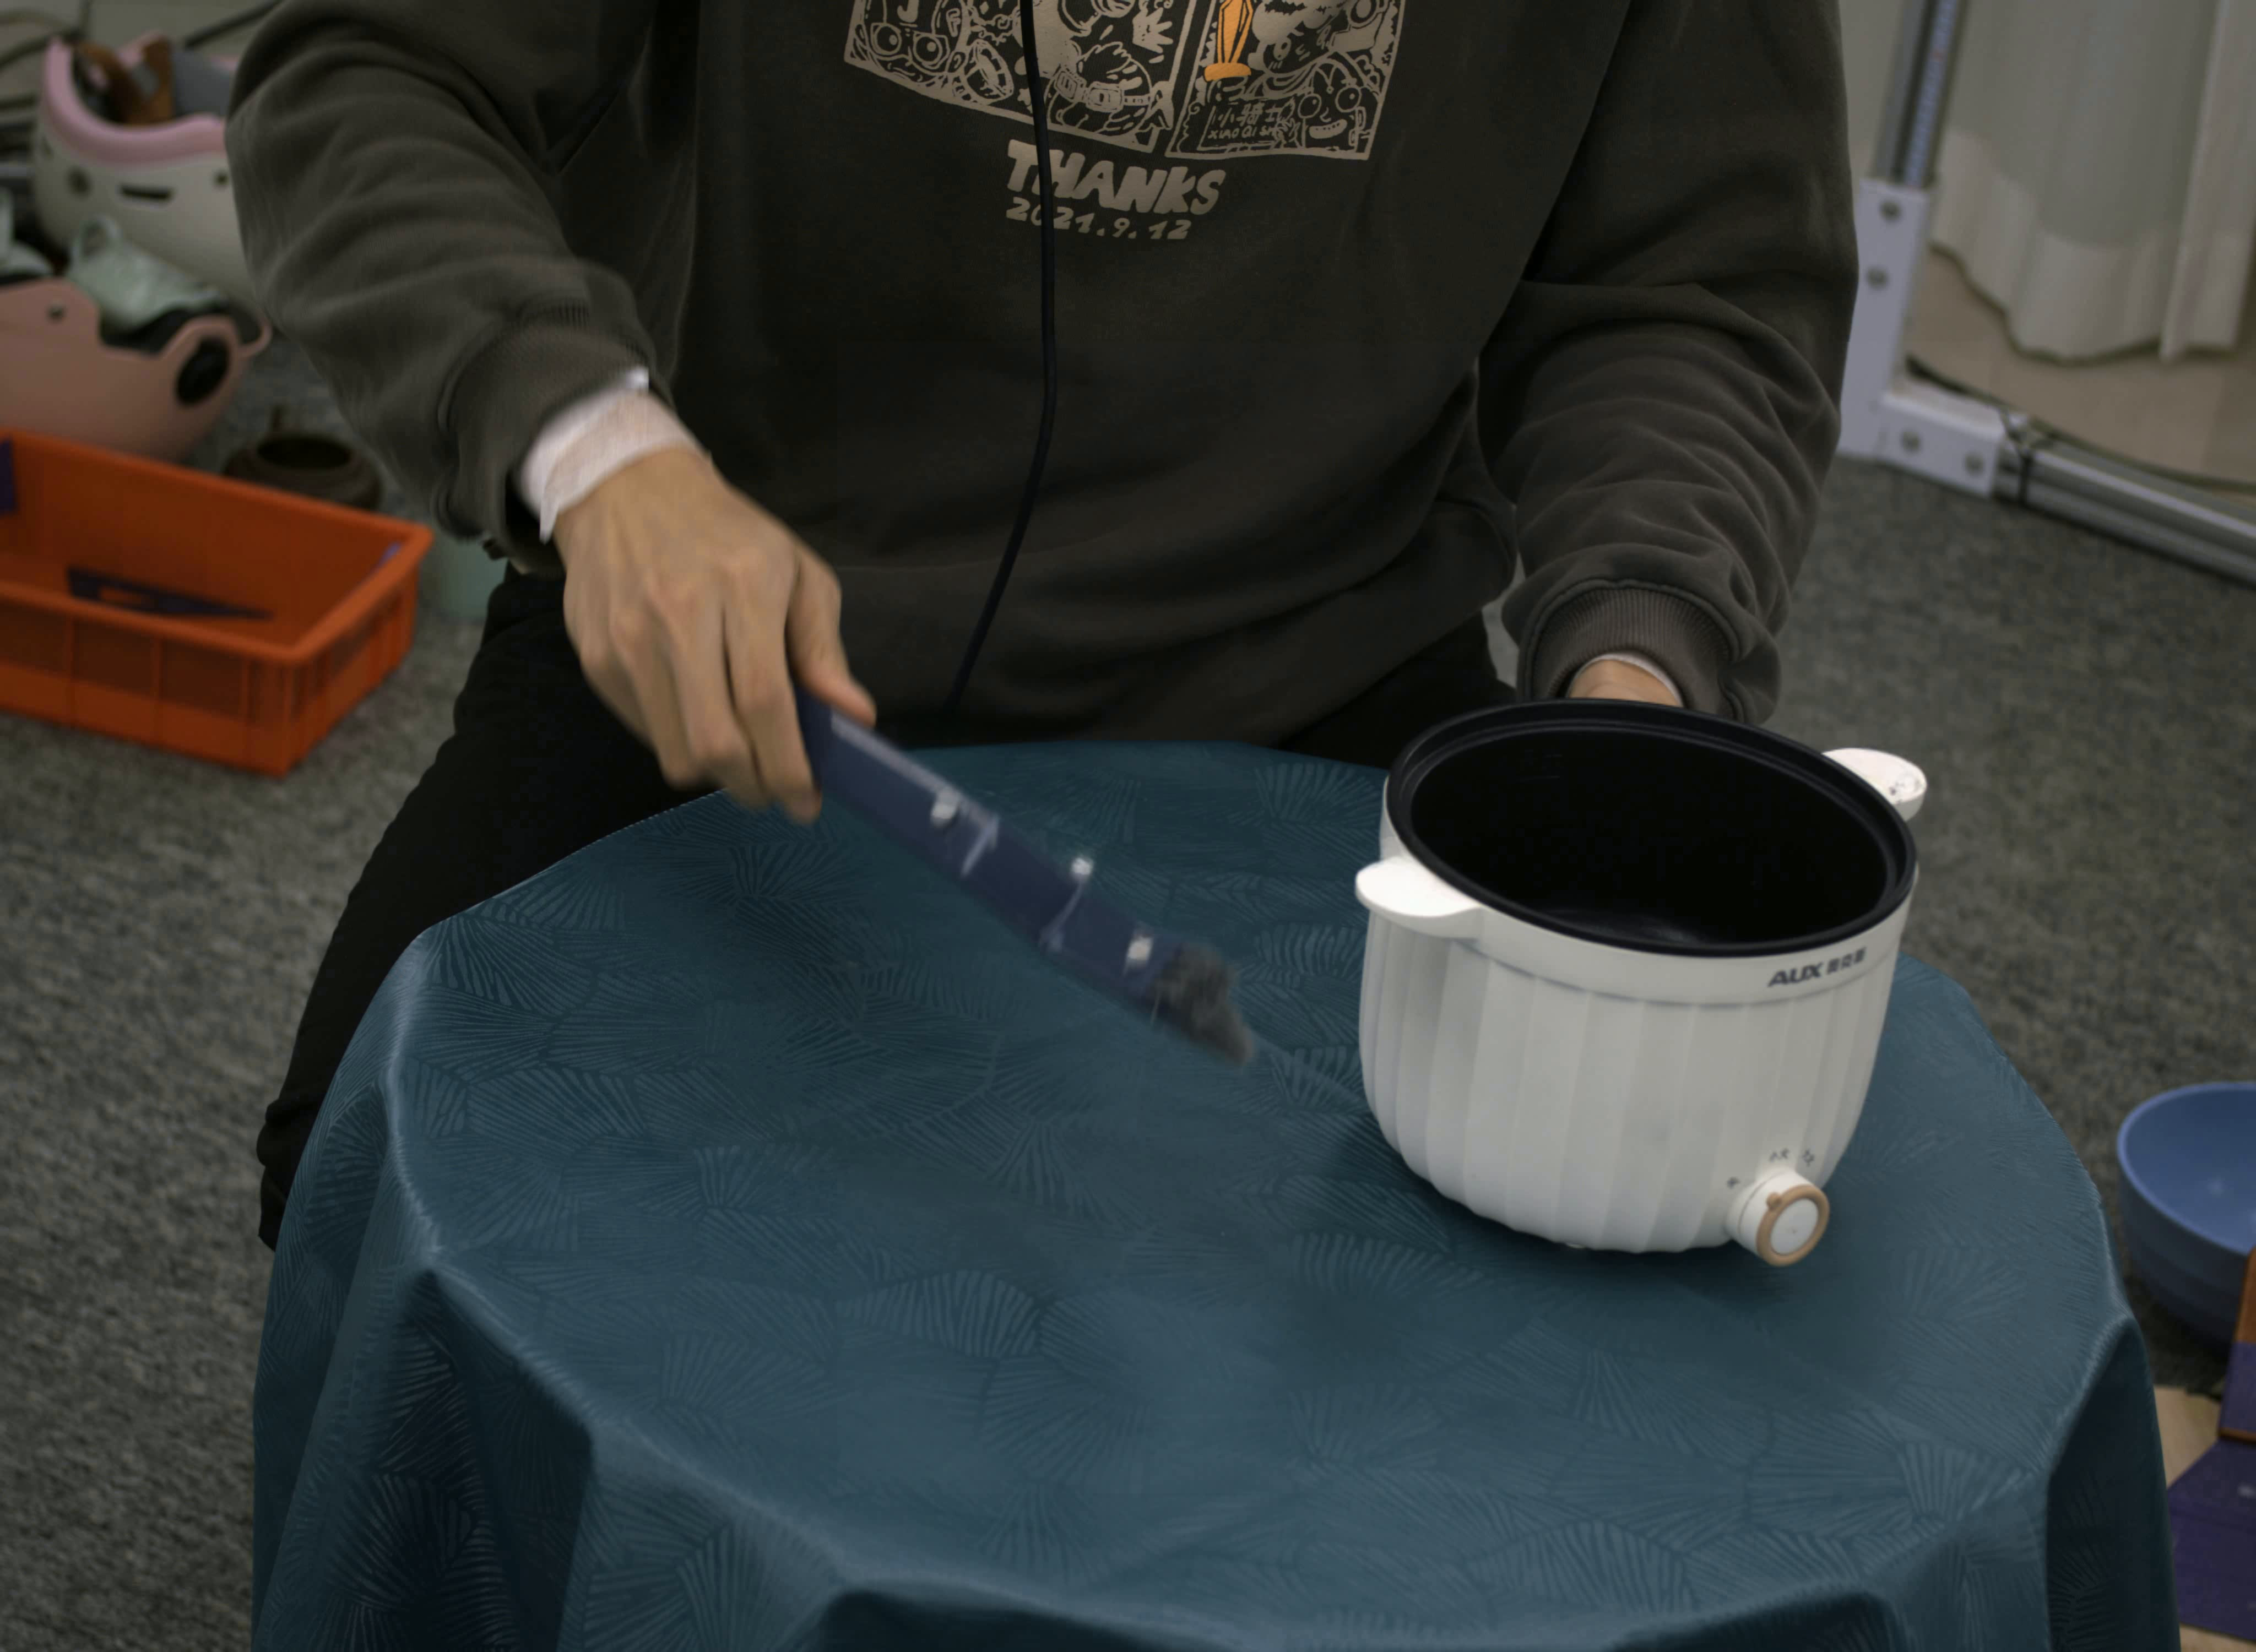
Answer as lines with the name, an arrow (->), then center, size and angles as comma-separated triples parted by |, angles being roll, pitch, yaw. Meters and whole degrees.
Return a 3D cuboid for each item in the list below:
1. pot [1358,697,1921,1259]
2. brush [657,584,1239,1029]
pot -> 0.174, 0.057, 1.820 | 0.239, 0.142, 0.192 | -14, 29, -33
brush -> -0.065, -0.014, 1.763 | 0.275, 0.033, 0.095 | 35, -8, 28
